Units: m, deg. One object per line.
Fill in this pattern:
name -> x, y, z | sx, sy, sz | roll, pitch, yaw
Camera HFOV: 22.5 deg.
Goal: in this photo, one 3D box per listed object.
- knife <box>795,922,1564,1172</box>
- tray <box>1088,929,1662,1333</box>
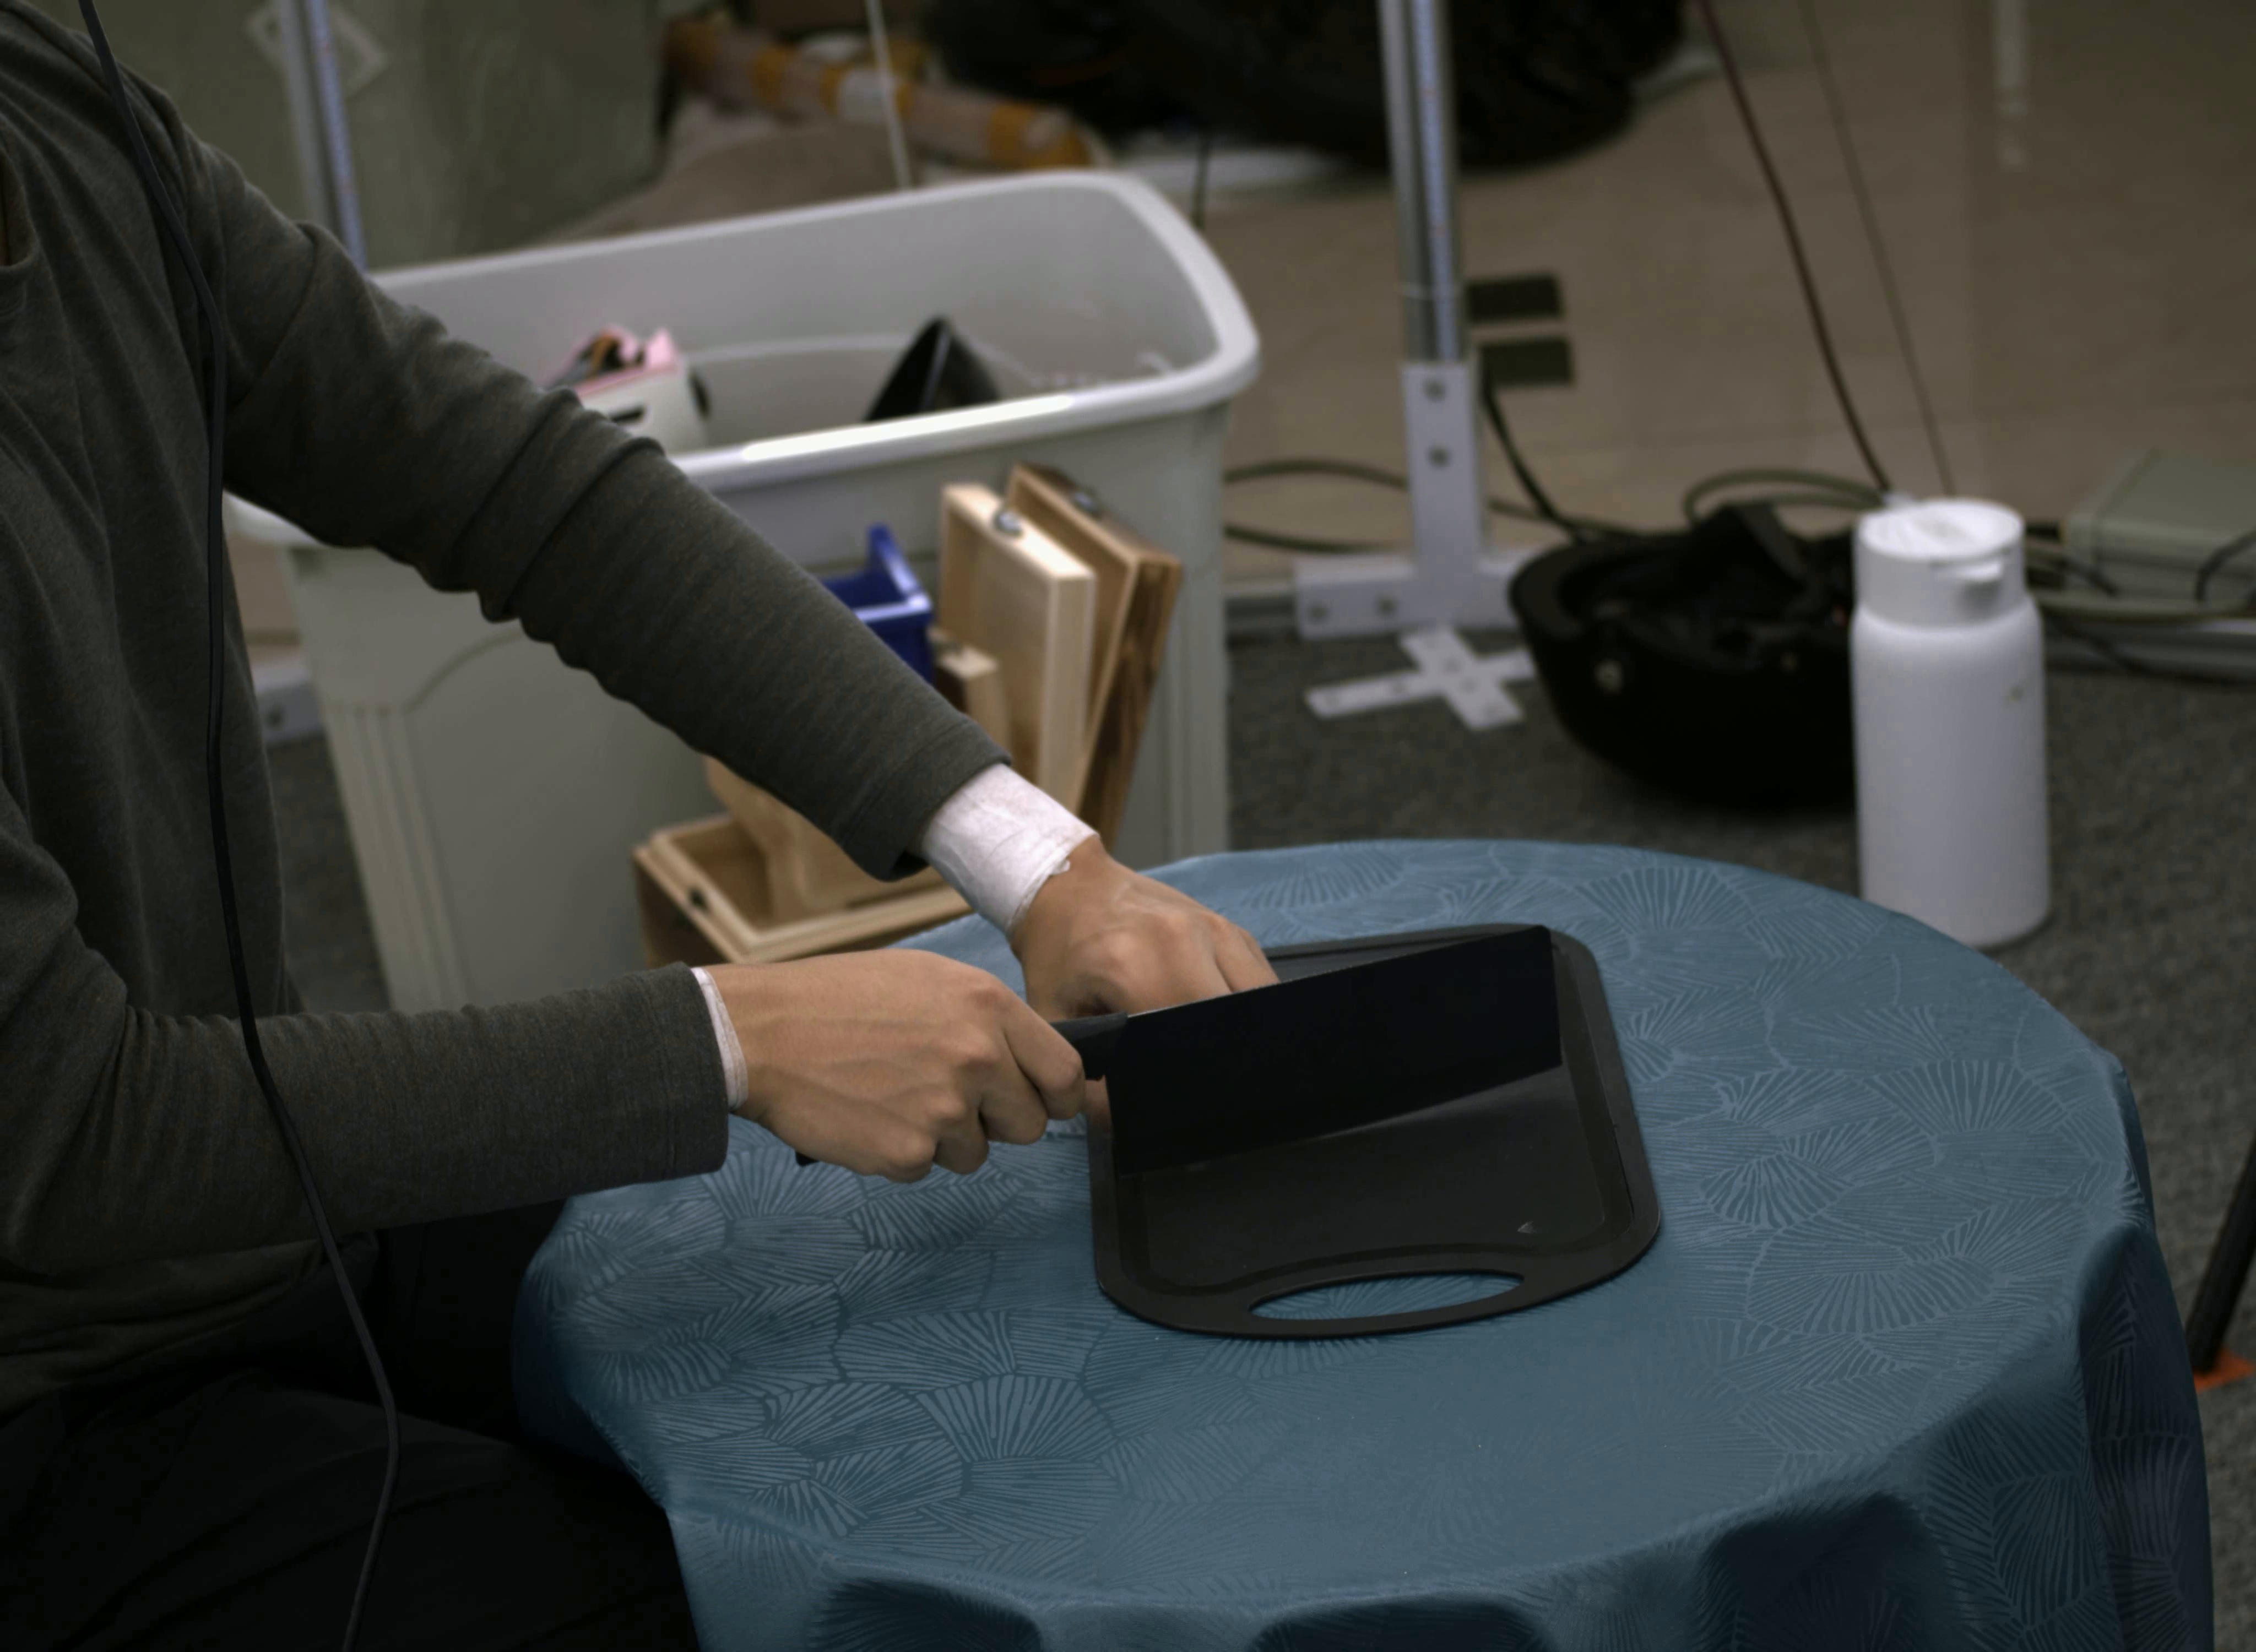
knife -> 0.022, 0.093, 2.146 | 0.301, 0.082, 0.020 | -8, 22, -13
tray -> 0.091, 0.112, 2.176 | 0.211, 0.010, 0.321 | -5, 24, 1
